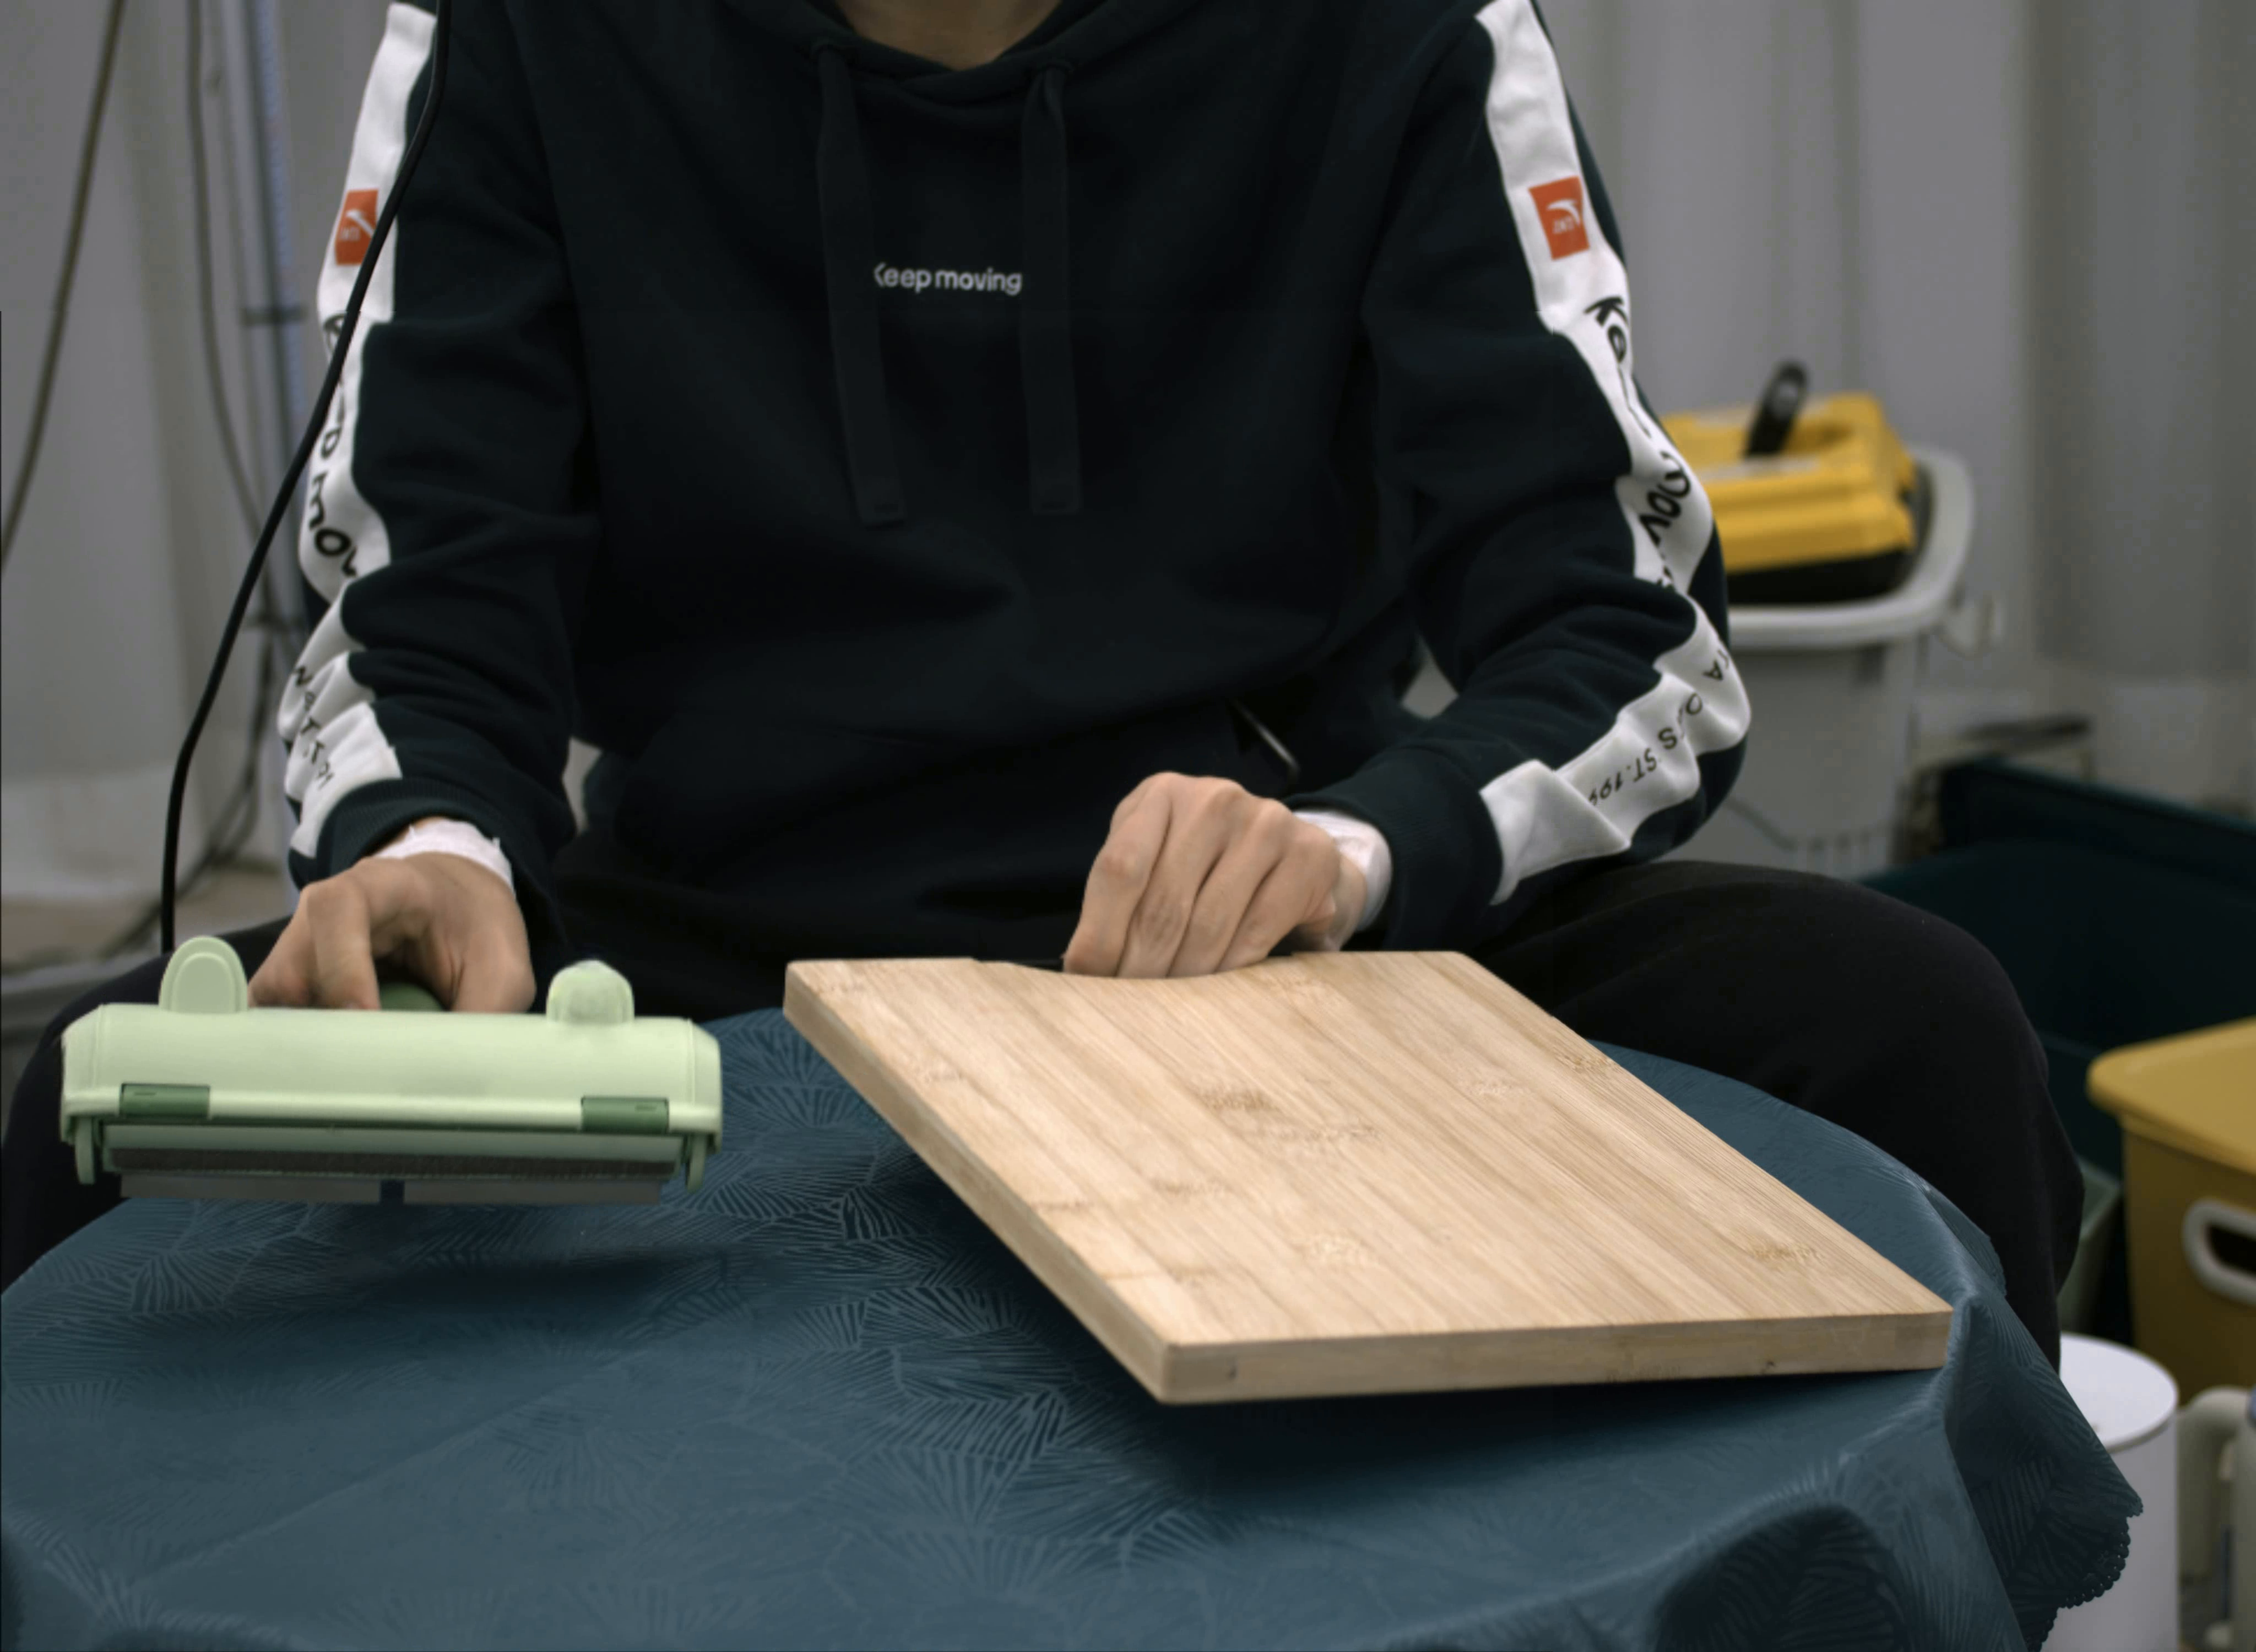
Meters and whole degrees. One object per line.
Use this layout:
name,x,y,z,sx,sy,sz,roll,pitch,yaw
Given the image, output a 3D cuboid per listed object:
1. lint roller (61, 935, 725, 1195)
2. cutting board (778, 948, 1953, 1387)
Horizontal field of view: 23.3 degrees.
lint roller,-0.227,0.058,1.700,0.198,0.082,0.185,1,19,-8
cutting board,0.059,0.097,1.642,0.249,0.023,0.352,0,16,-22
